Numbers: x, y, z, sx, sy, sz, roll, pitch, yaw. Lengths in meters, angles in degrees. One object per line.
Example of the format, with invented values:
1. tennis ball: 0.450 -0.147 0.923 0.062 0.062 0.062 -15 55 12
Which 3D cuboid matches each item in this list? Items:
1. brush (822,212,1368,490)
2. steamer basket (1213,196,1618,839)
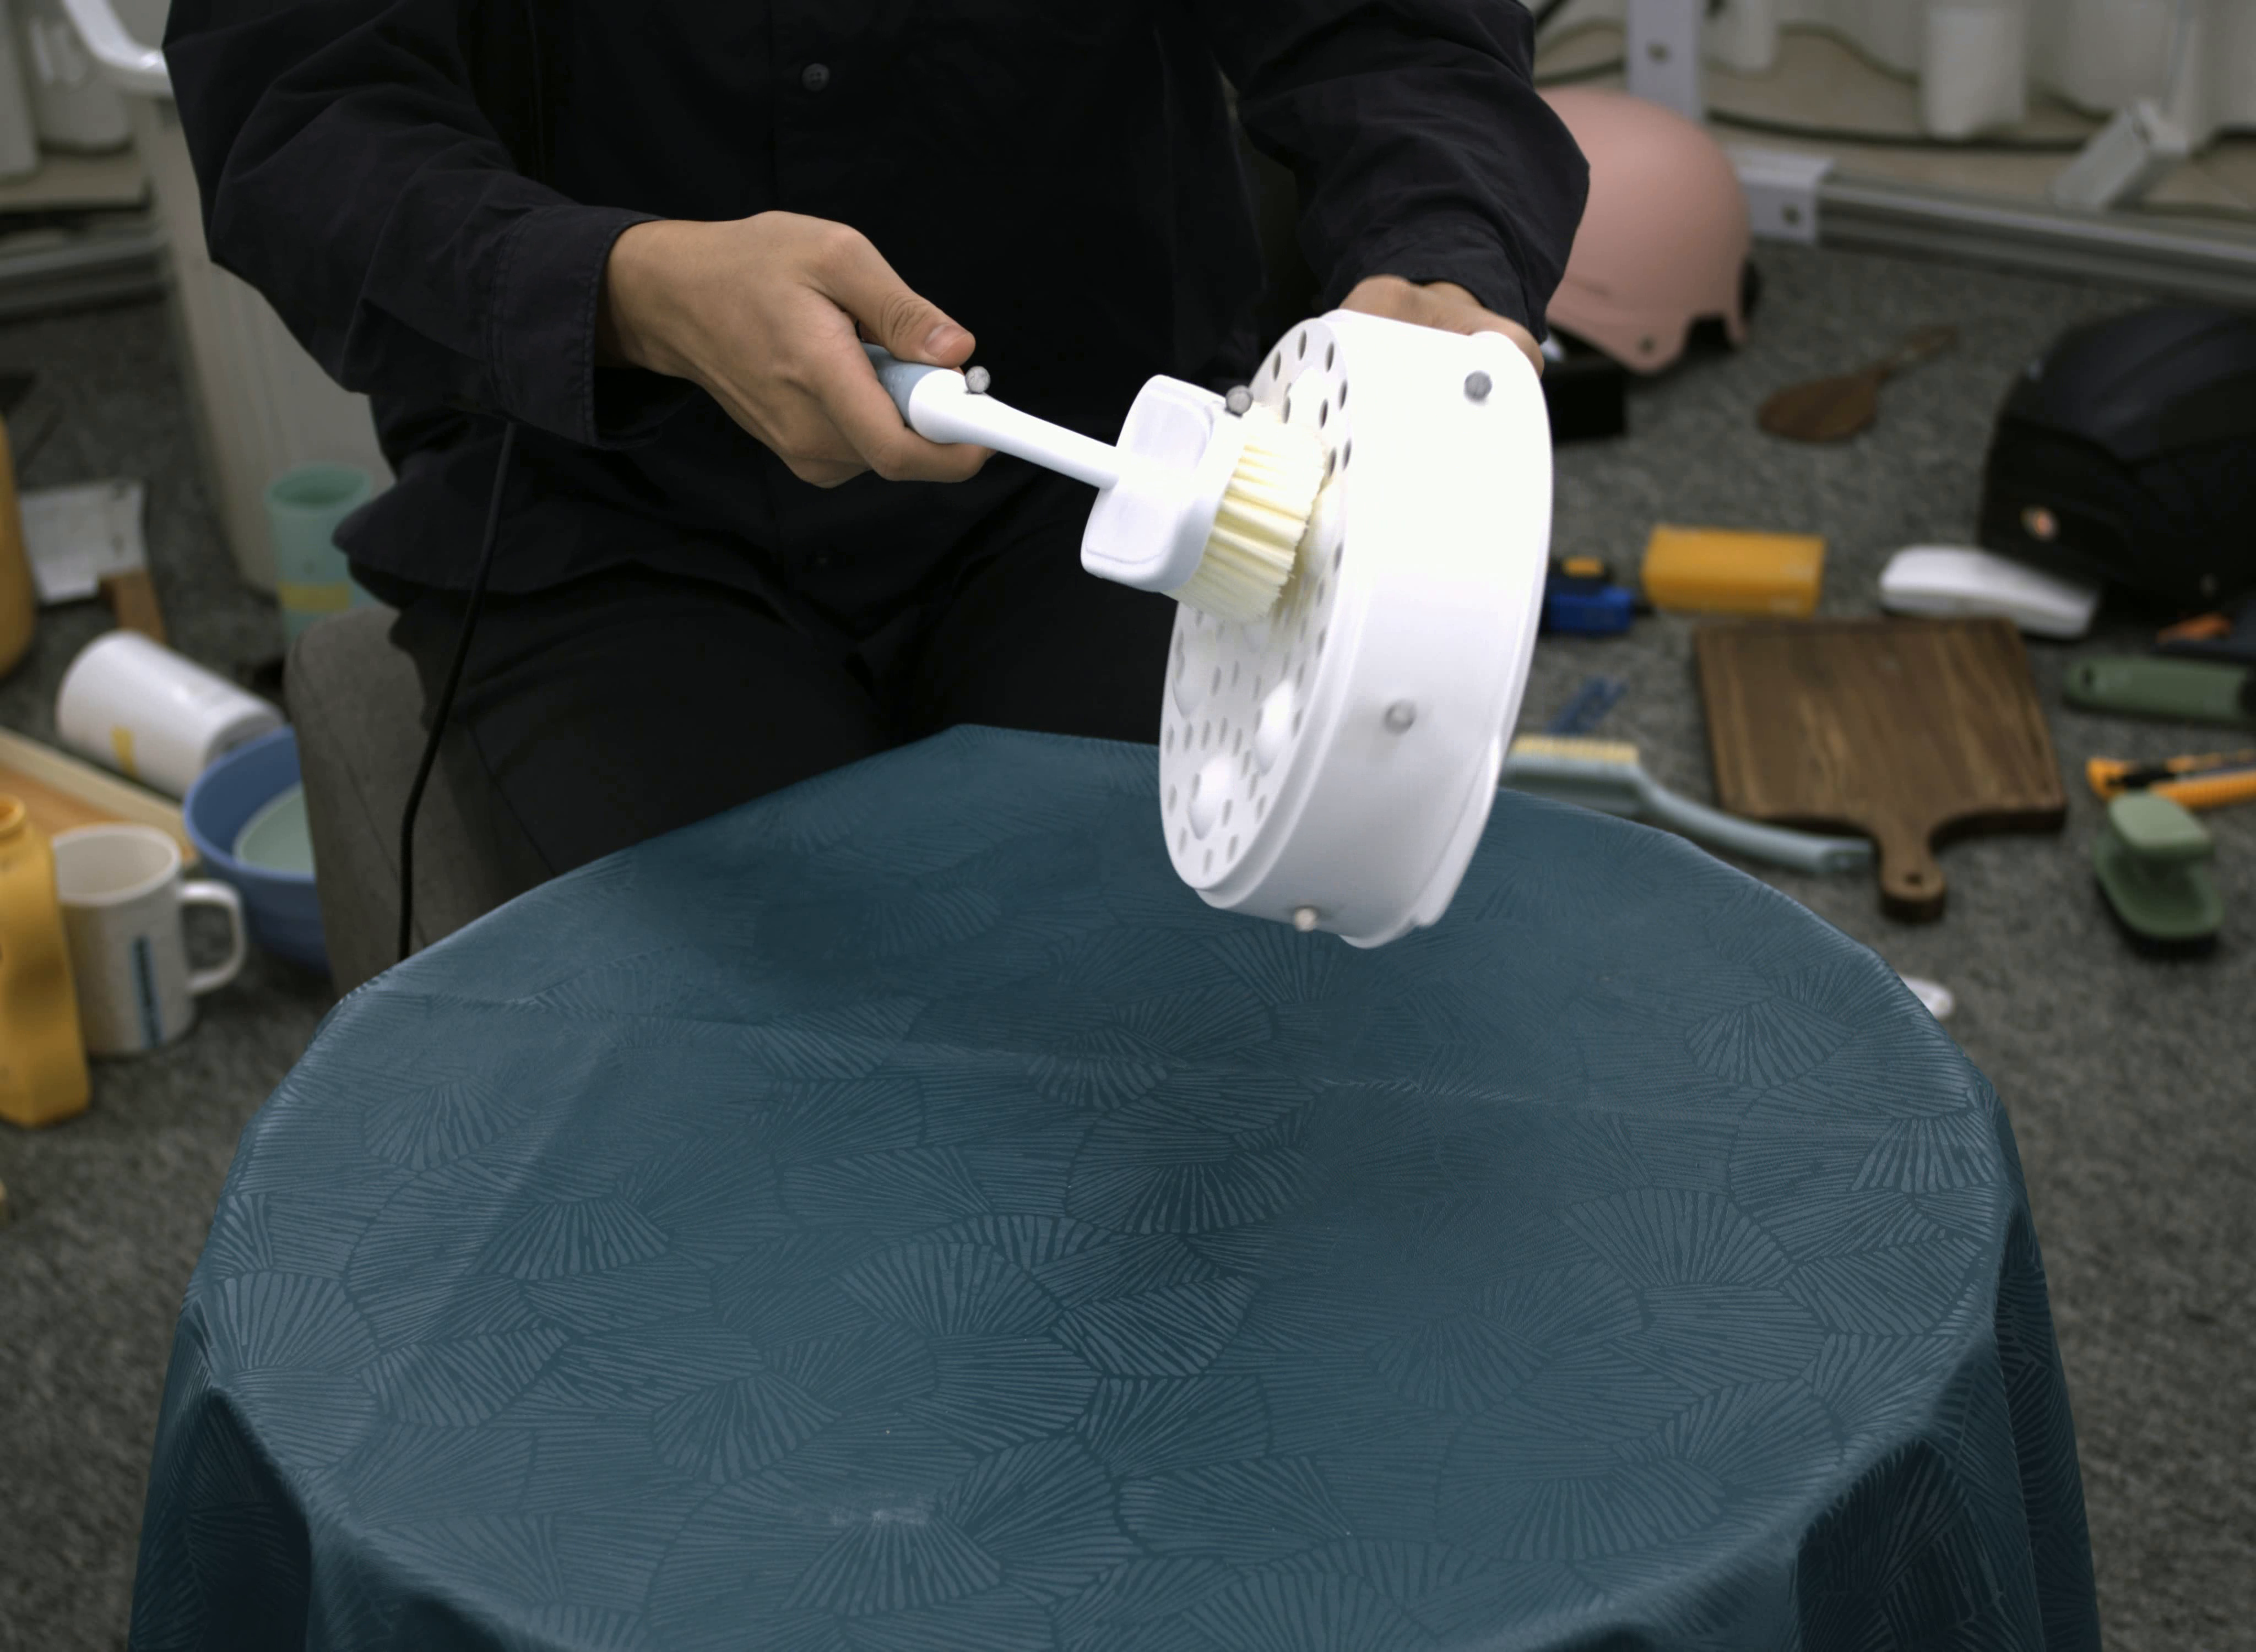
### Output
1. brush: 0.001 -0.168 1.873 0.083 0.084 0.325 -39 26 -14
2. steamer basket: 0.086 -0.100 1.794 0.069 0.199 0.234 12 35 -16
